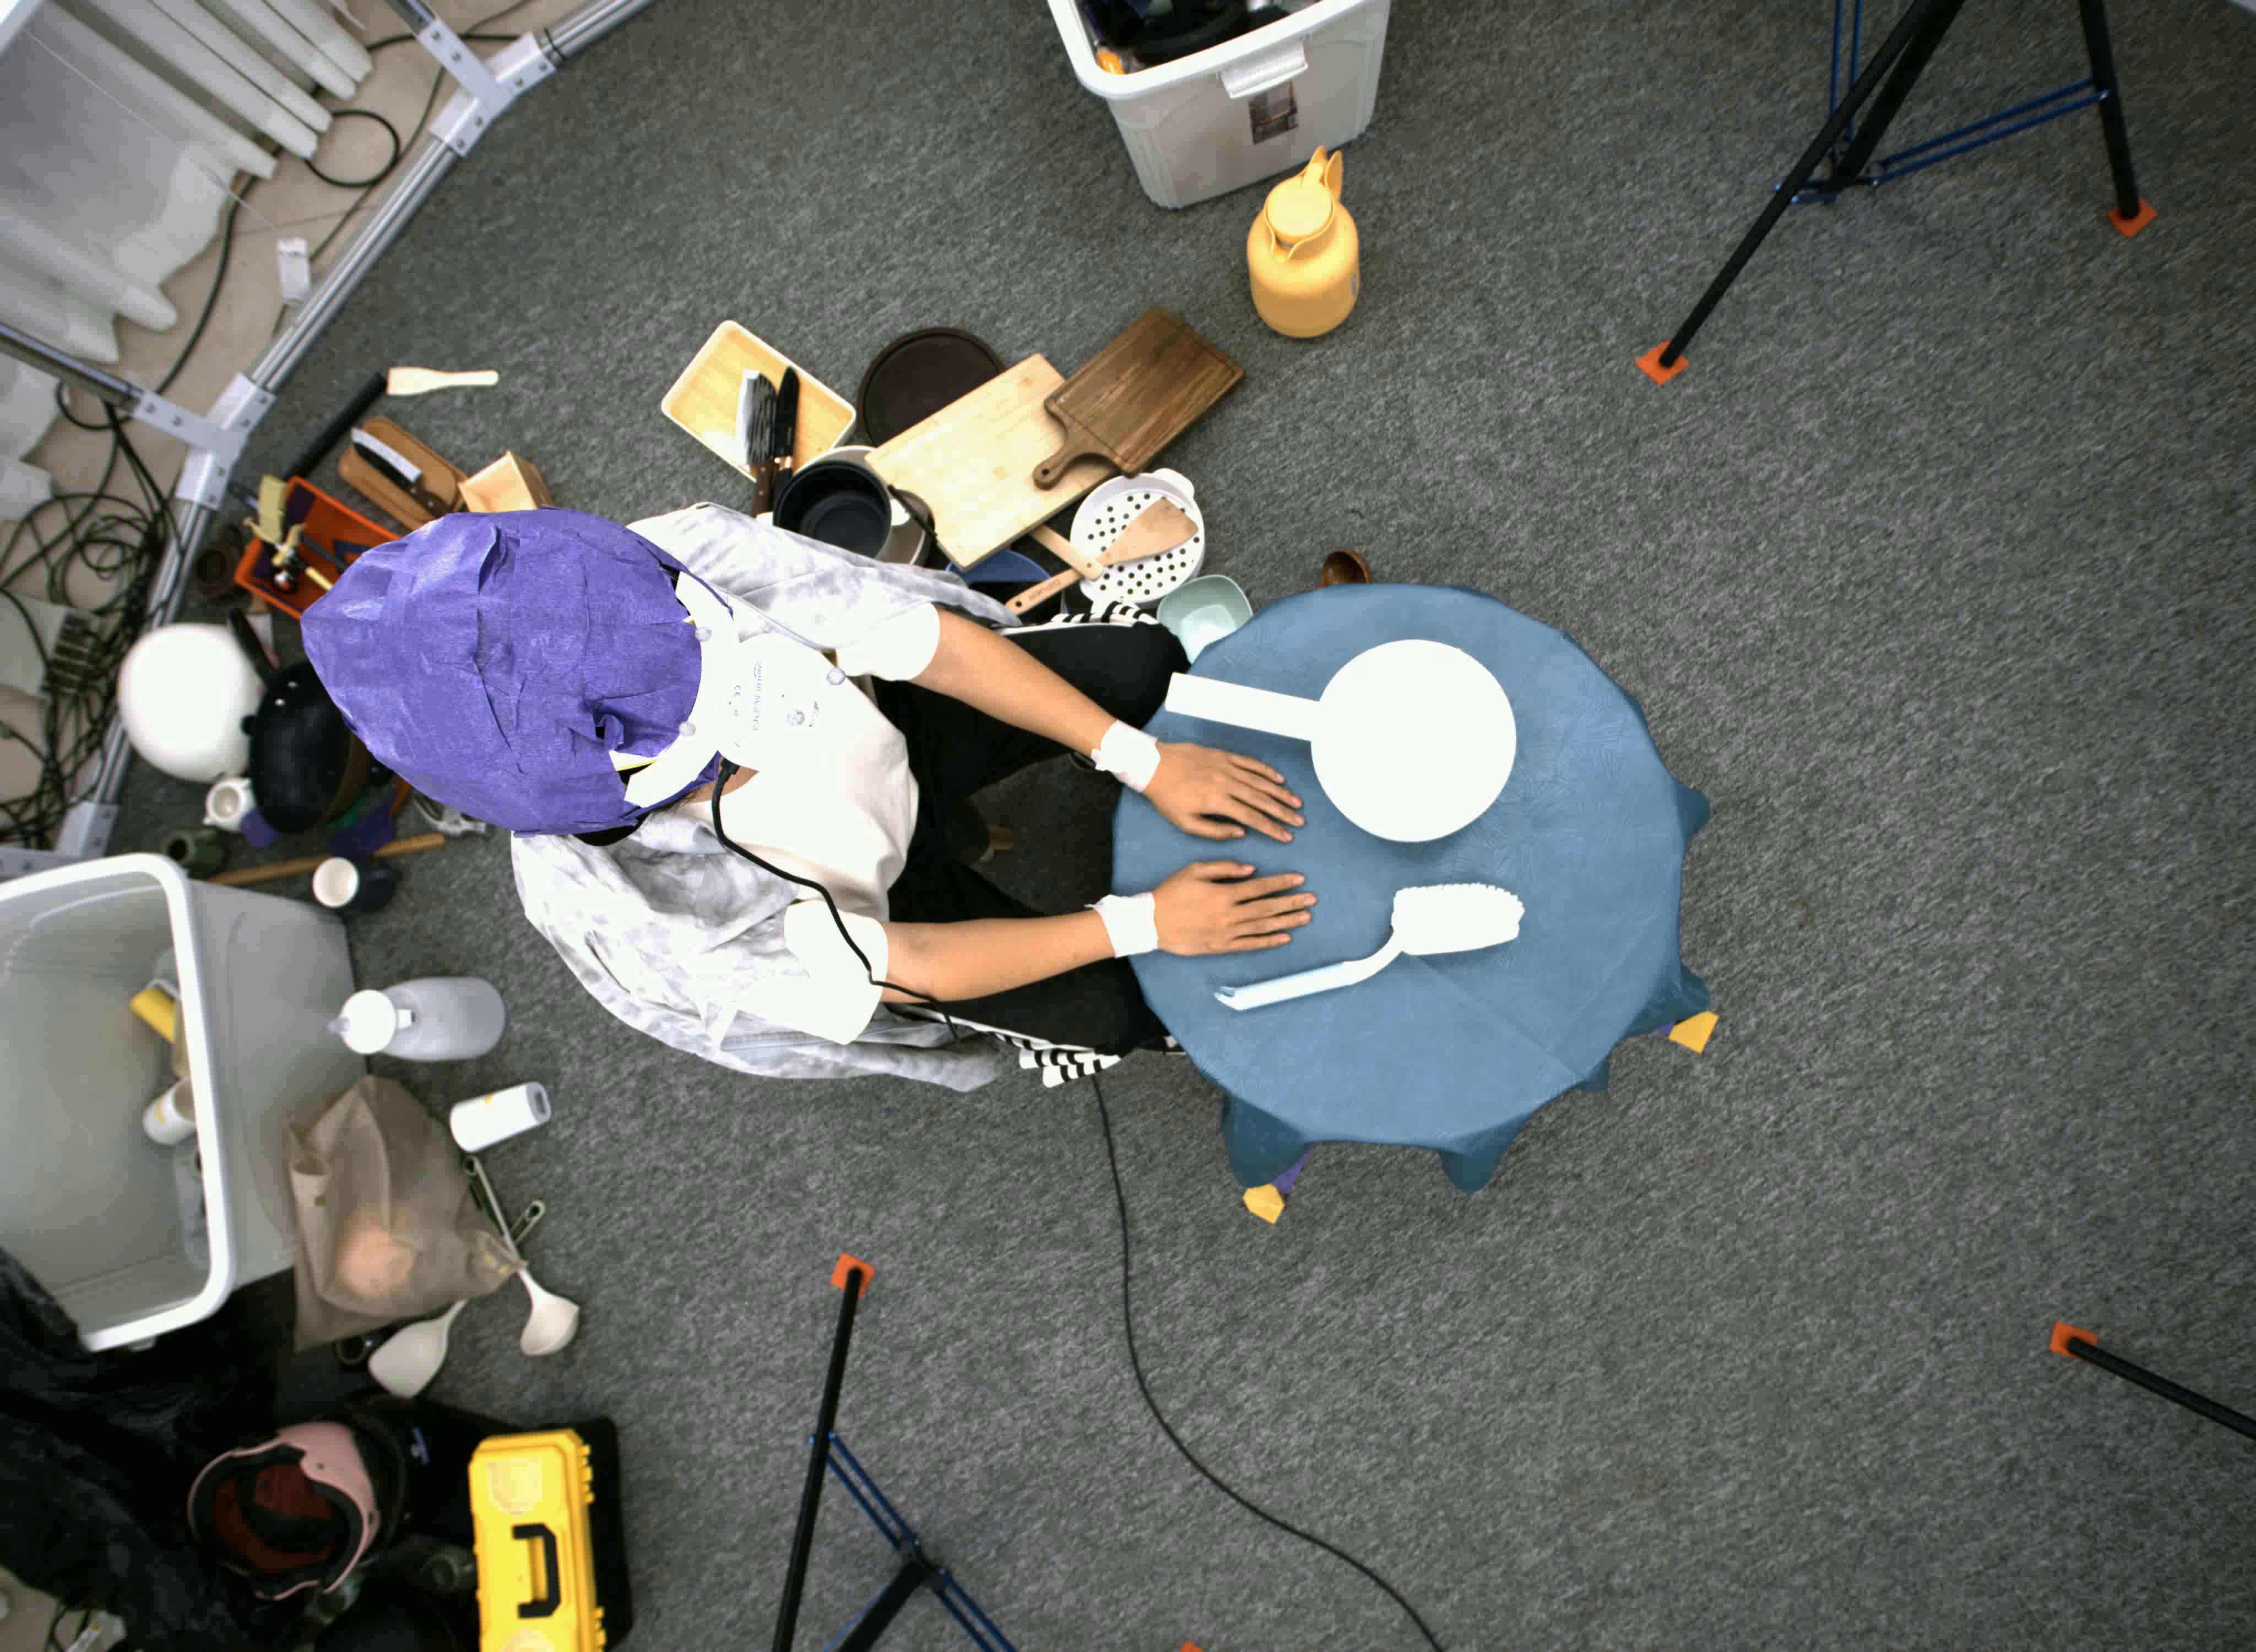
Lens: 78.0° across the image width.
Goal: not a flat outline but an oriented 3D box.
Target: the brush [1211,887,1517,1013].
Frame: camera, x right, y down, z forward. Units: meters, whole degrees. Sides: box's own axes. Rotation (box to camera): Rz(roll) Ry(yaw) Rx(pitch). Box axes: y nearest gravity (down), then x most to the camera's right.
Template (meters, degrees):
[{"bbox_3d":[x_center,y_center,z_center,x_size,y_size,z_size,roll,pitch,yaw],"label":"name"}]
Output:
[{"bbox_3d":[0.237,0.120,1.421,0.327,0.083,0.084,-14,87,9],"label":"brush"}]

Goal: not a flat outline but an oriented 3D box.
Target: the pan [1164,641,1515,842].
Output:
[{"bbox_3d":[0.217,-0.099,1.428,0.355,0.102,0.201,12,89,12],"label":"pan"}]
